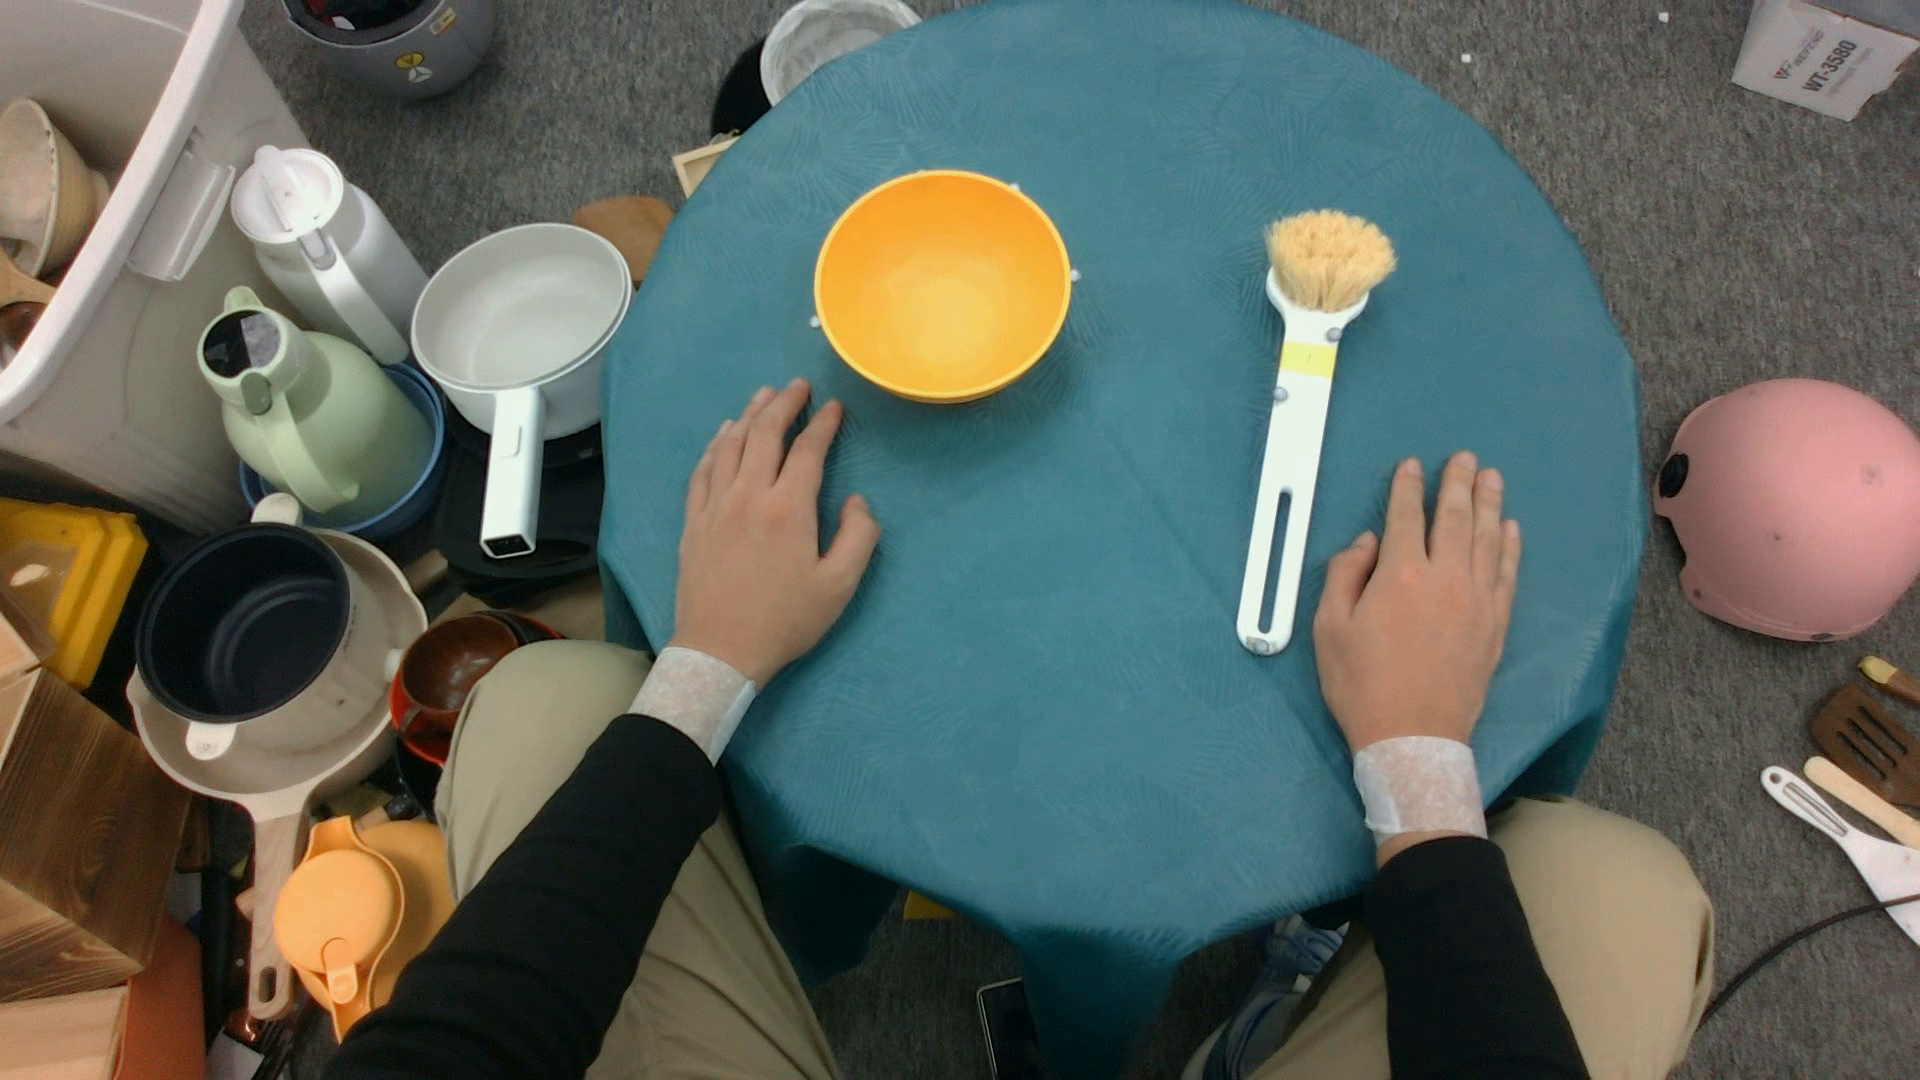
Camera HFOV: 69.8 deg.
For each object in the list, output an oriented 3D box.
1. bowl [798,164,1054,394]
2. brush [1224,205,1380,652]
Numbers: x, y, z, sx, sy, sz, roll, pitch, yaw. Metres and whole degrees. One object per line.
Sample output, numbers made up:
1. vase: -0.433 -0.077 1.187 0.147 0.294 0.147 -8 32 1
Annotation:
1. bowl: -0.018 -0.141 0.798 0.145 0.060 0.146 -1 71 2
2. brush: 0.185 -0.070 0.772 0.068 0.056 0.267 10 71 10
